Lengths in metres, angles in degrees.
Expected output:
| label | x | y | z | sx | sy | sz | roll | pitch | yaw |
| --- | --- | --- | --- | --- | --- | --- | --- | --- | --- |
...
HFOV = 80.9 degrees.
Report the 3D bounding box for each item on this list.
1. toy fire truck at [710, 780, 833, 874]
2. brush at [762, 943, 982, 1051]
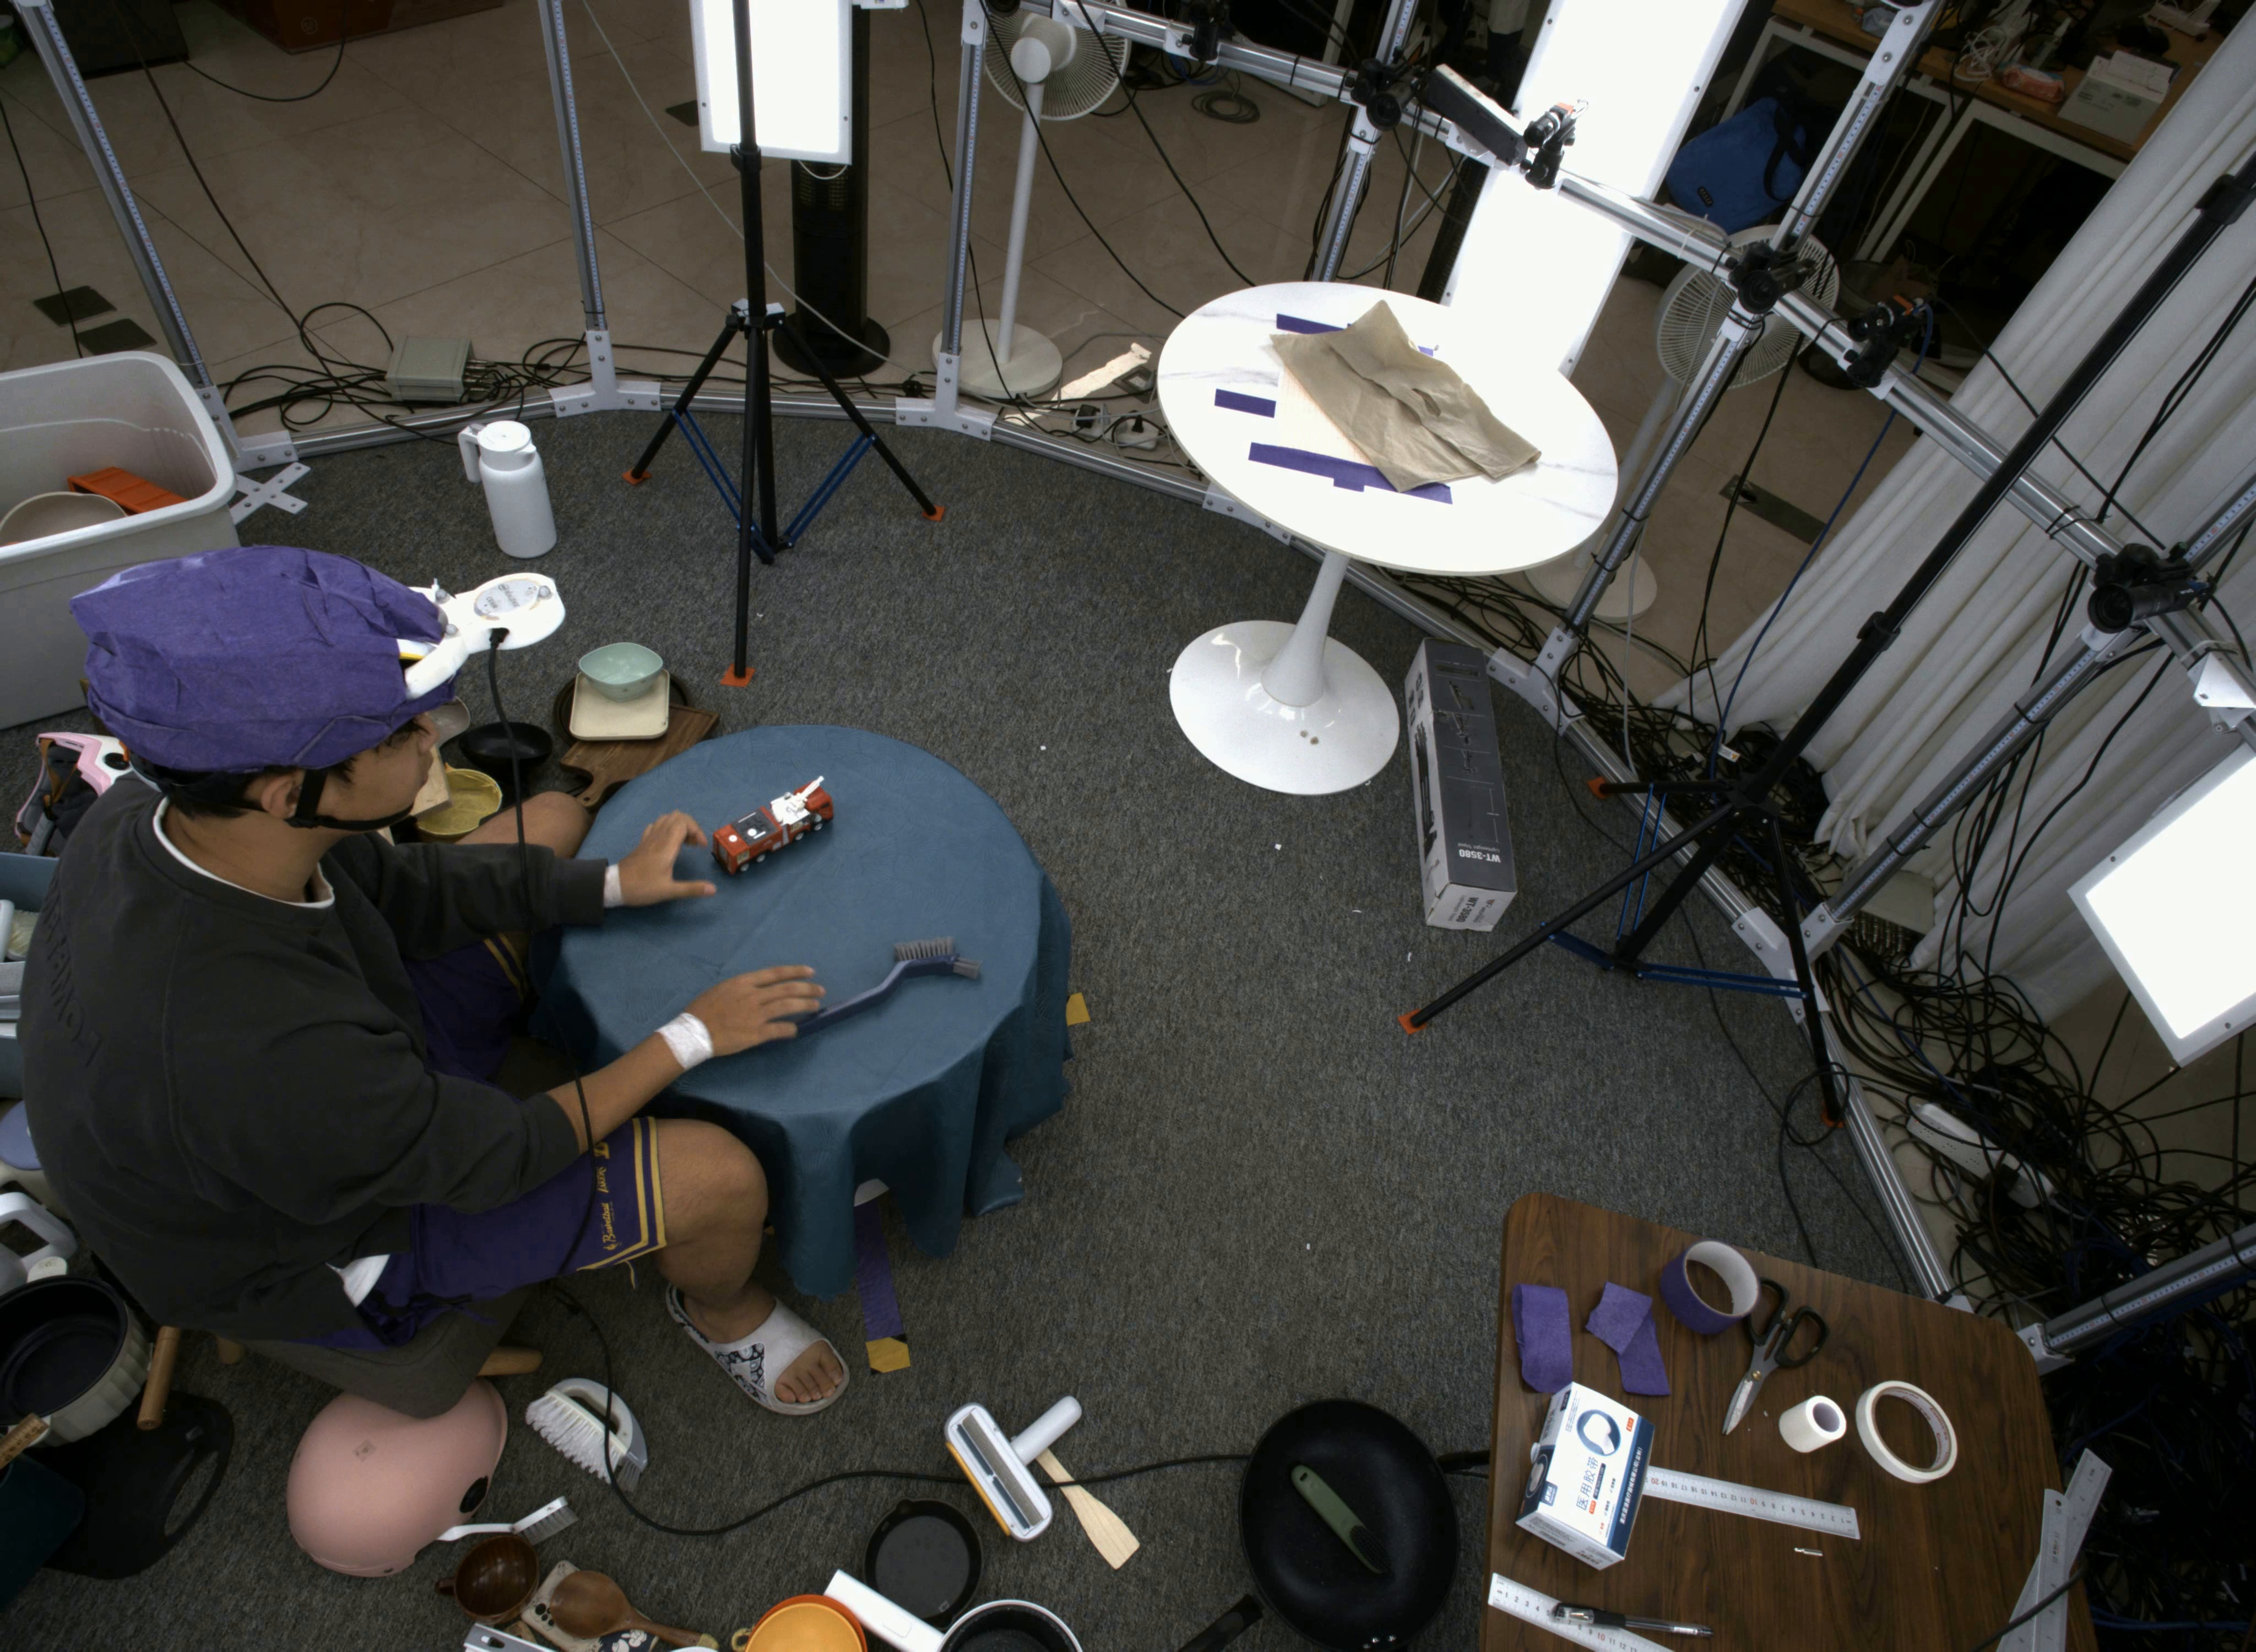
| label | x | y | z | sx | sy | sz | roll | pitch | yaw |
| --- | --- | --- | --- | --- | --- | --- | --- | --- | --- |
| toy fire truck | -0.460 | -0.002 | 1.682 | 0.168 | 0.071 | 0.053 | -33 | 69 | -31 |
| brush | -0.311 | 0.213 | 1.578 | 0.274 | 0.034 | 0.093 | -31 | 65 | -33 |
